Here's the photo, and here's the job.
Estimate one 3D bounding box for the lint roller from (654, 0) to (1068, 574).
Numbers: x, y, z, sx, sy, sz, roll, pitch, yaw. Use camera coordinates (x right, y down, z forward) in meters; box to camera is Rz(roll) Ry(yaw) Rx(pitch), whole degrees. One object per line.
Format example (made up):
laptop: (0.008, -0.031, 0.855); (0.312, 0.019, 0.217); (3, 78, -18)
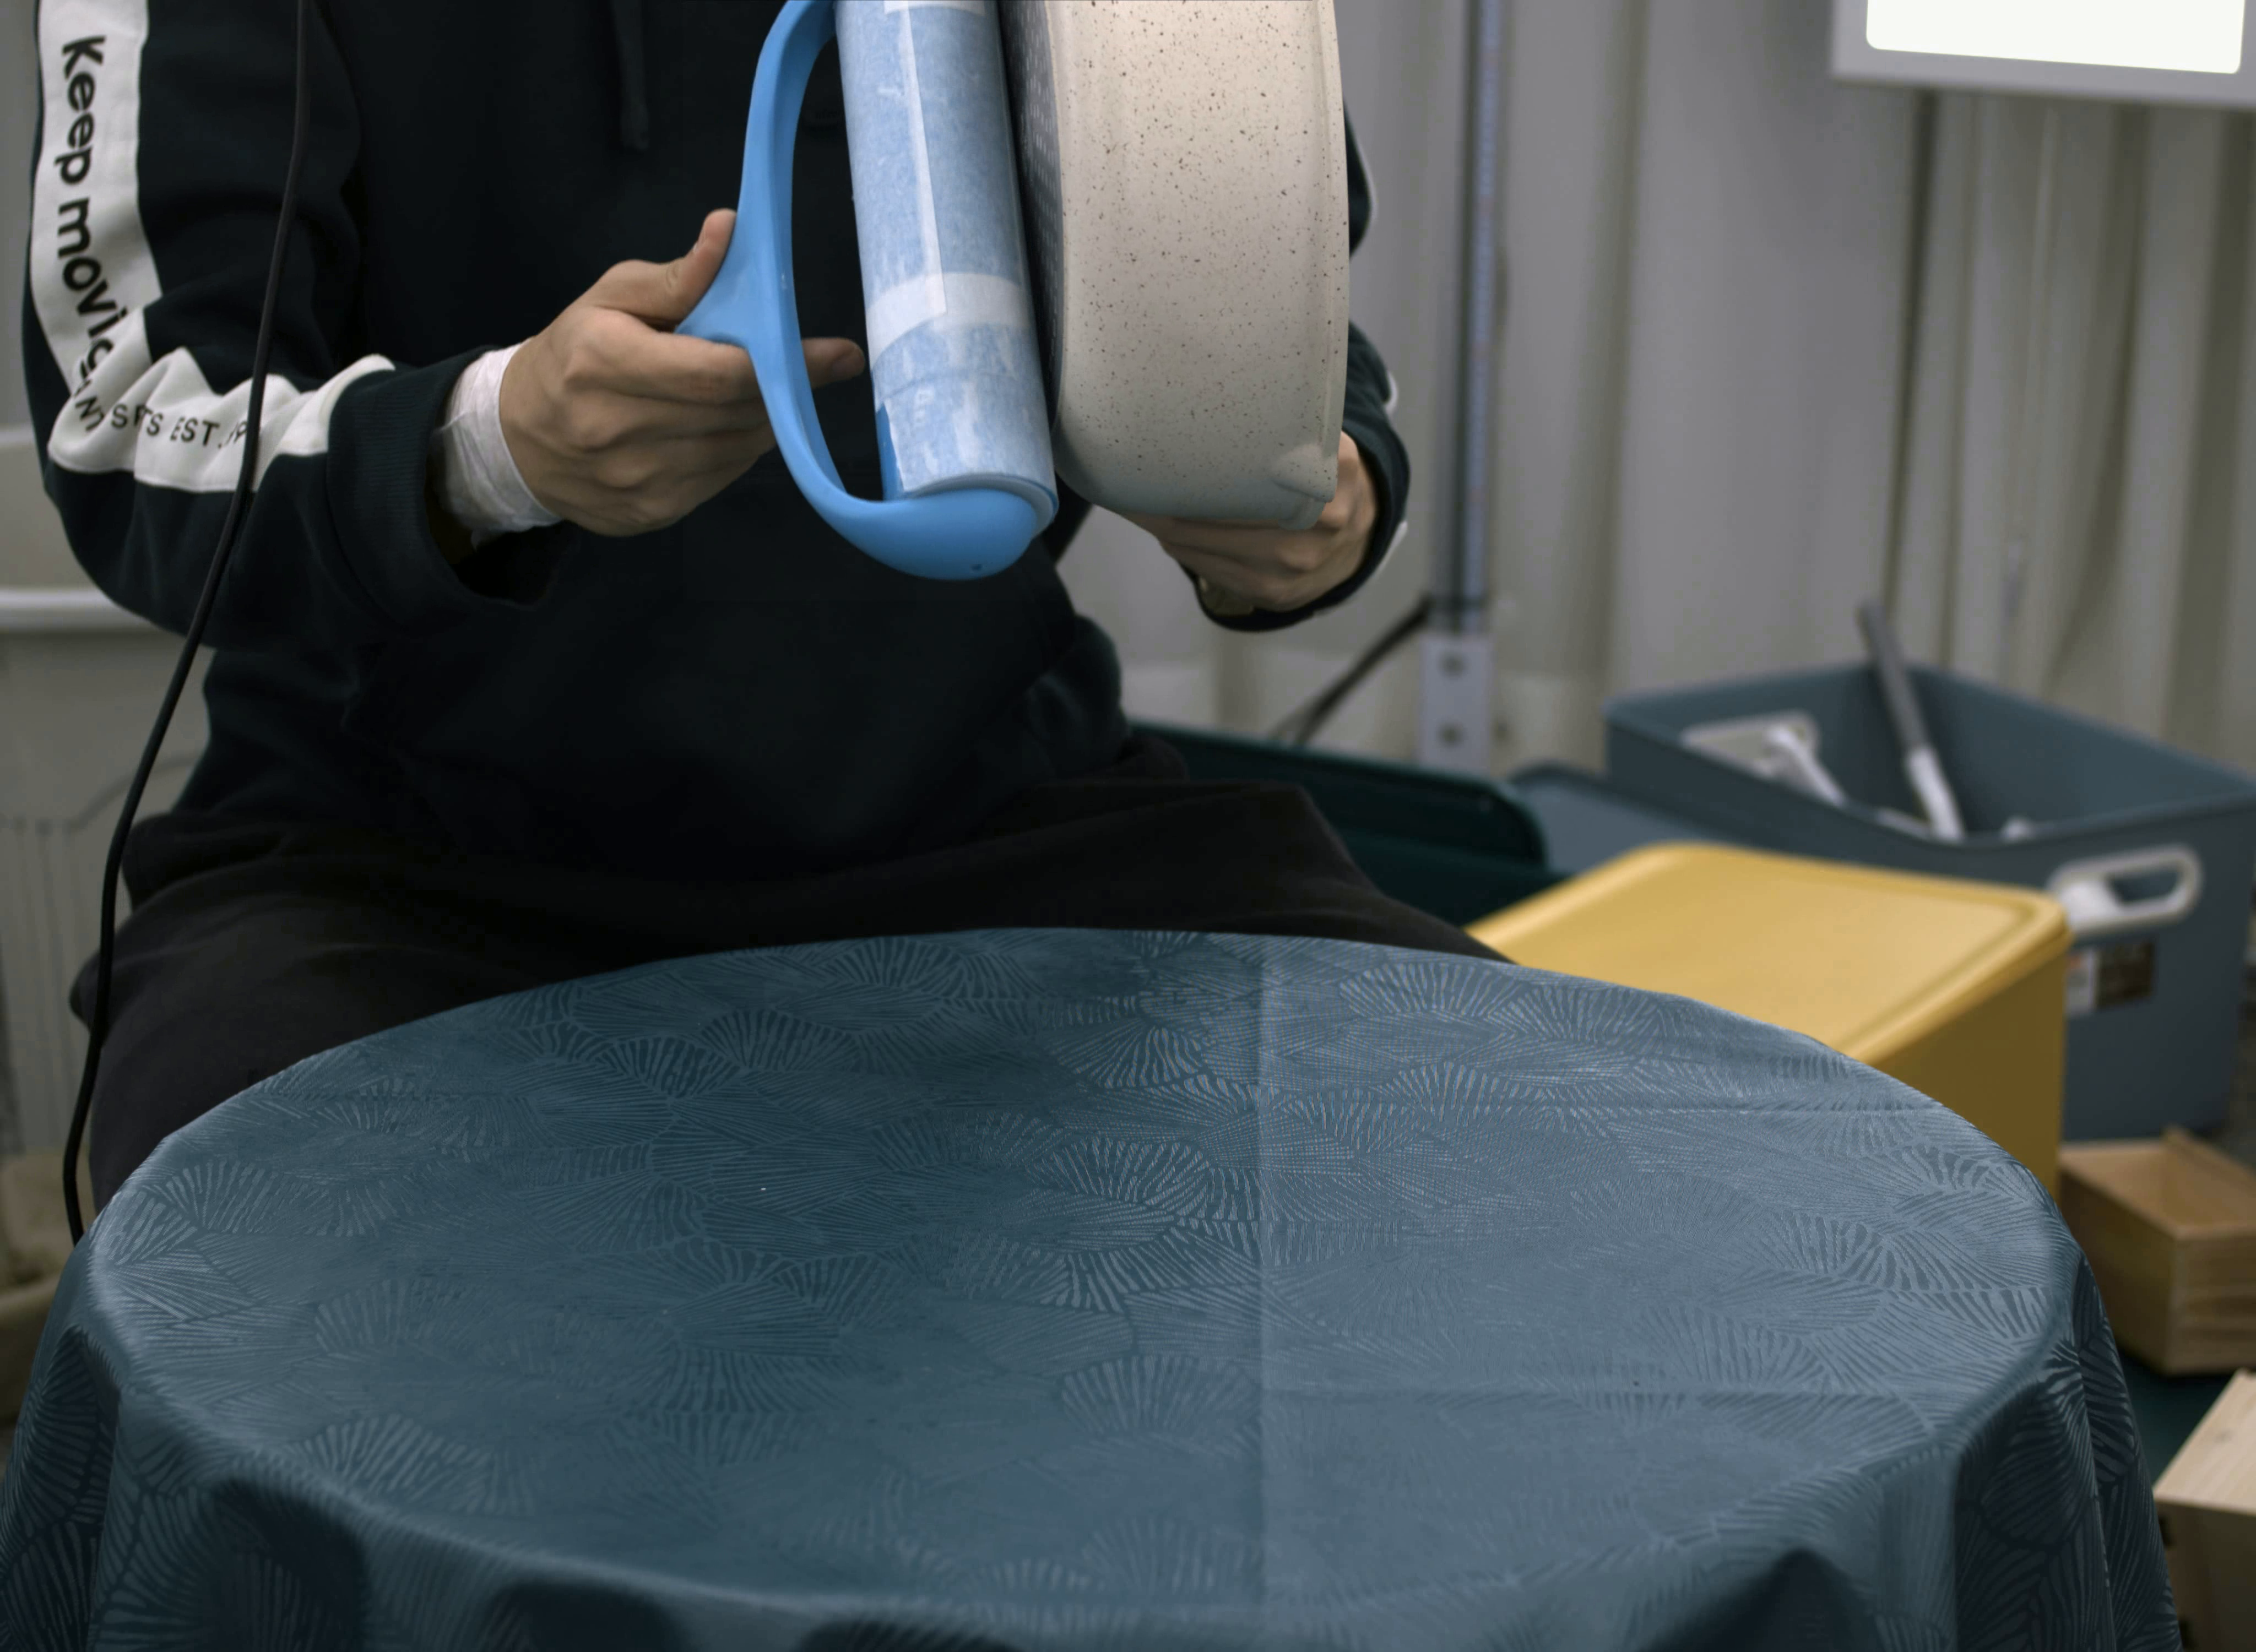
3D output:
lint roller: (-0.103, -0.158, 1.686); (0.179, 0.227, 0.069); (-27, -30, 30)

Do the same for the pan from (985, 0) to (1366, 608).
pan: (0.010, -0.174, 1.750); (0.102, 0.262, 0.438); (-6, -24, -8)
